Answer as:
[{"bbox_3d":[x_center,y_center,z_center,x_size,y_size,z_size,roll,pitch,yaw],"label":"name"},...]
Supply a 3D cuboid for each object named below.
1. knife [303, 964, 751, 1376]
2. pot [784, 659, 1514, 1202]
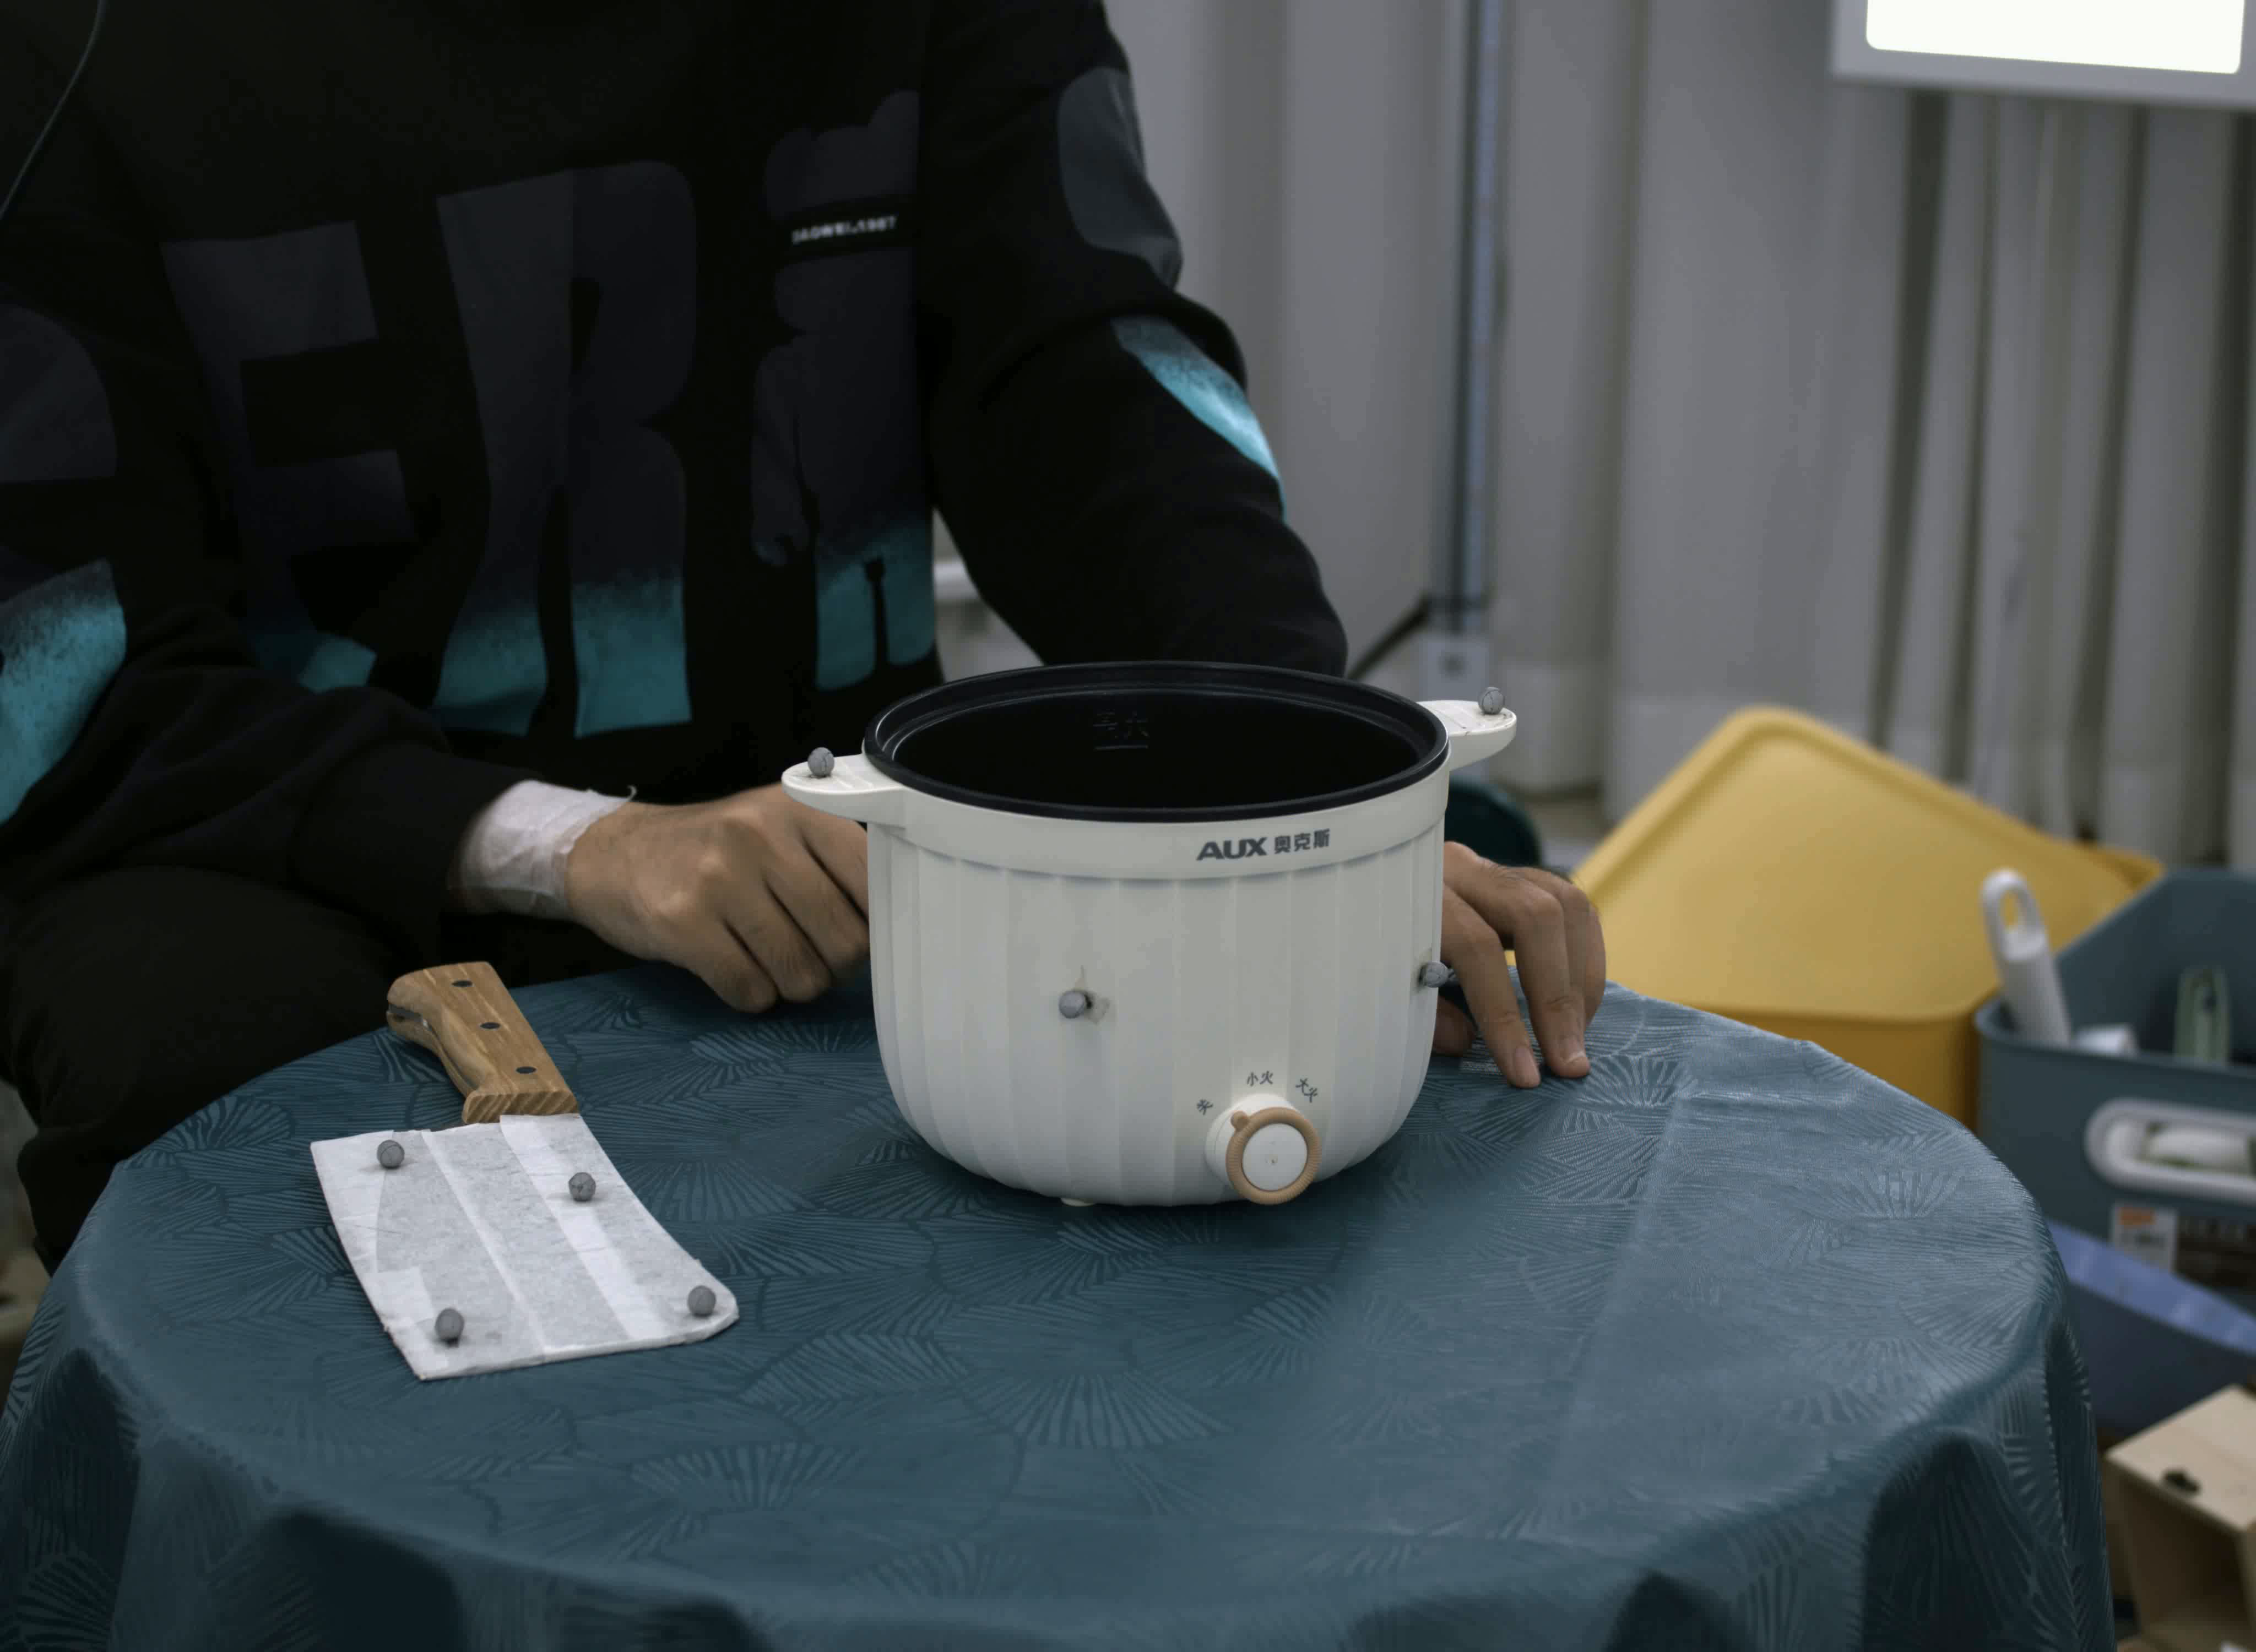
[{"bbox_3d":[-0.194,0.103,1.618,0.114,0.022,0.312,-4,19,-14],"label":"knife"},{"bbox_3d":[0.012,0.035,1.639,0.241,0.144,0.188,-7,14,-20],"label":"pot"}]
